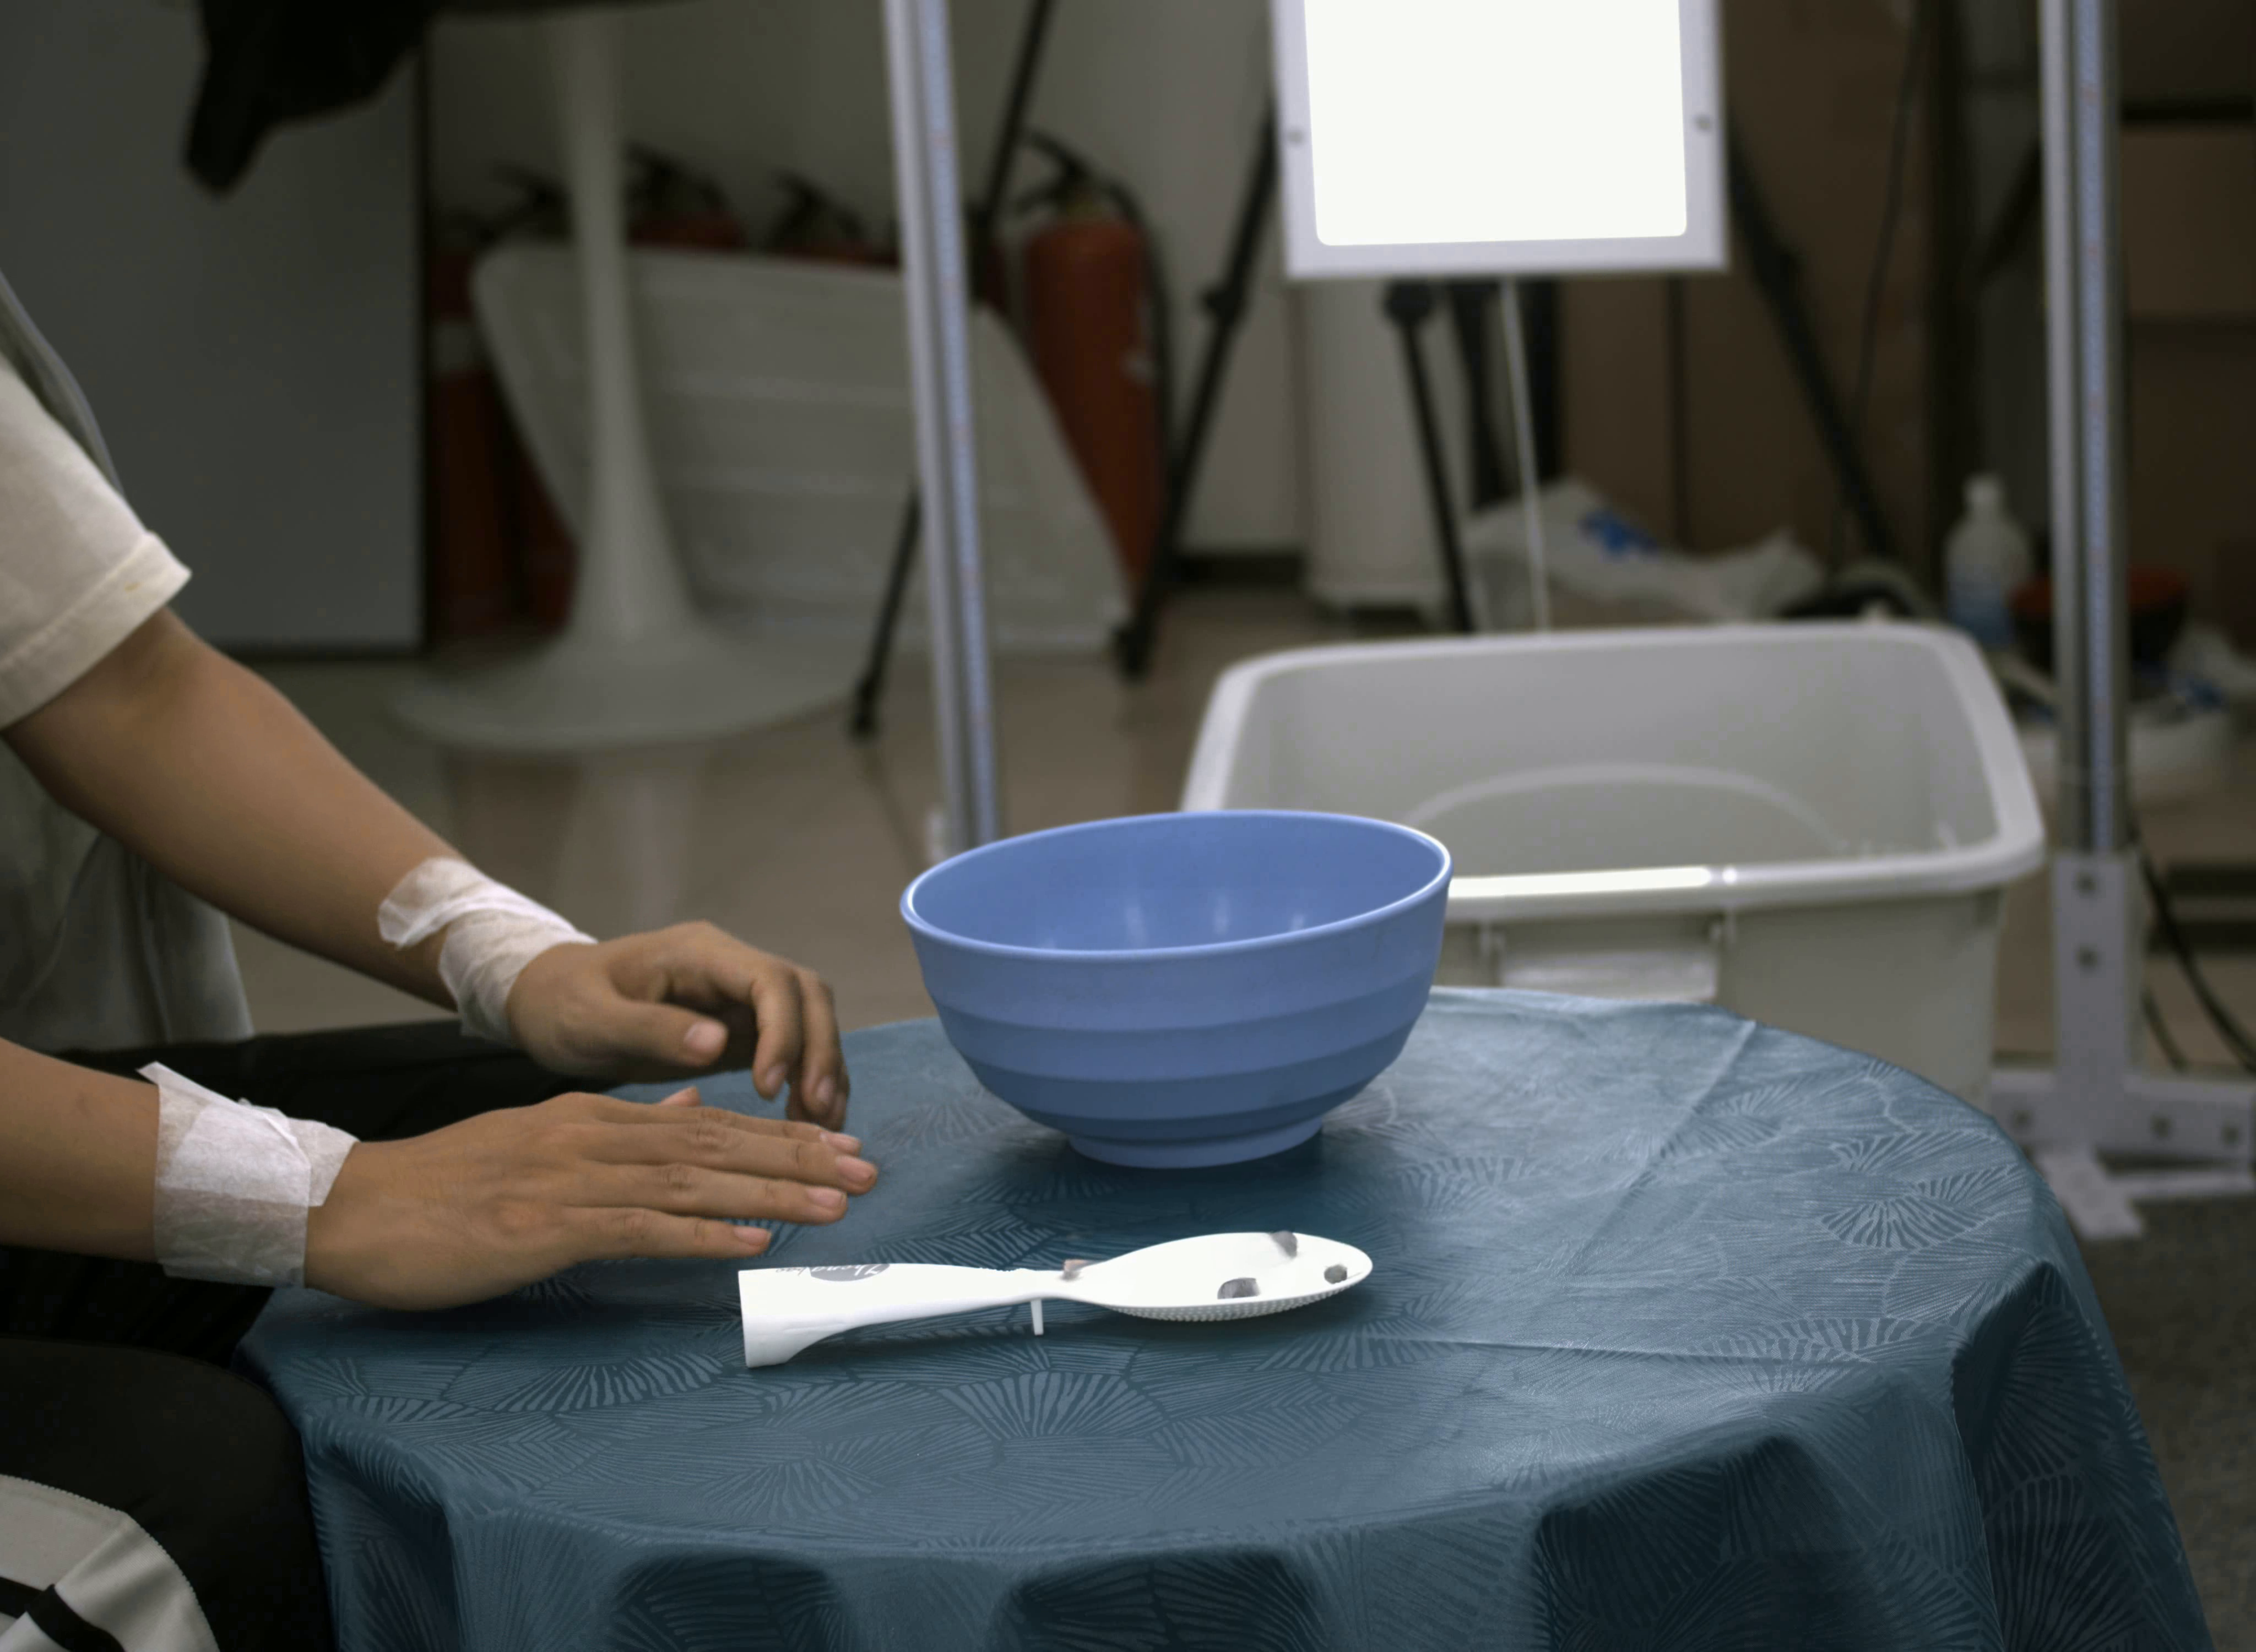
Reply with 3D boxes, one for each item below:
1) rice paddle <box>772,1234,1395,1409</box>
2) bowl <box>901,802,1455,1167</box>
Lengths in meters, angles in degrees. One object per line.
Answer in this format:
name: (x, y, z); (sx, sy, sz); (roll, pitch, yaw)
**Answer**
rice paddle: (-0.012, 0.150, 1.762); (0.203, 0.029, 0.069); (-12, 2, -11)
bowl: (0.020, 0.062, 1.950); (0.196, 0.096, 0.196); (-4, 15, 0)
